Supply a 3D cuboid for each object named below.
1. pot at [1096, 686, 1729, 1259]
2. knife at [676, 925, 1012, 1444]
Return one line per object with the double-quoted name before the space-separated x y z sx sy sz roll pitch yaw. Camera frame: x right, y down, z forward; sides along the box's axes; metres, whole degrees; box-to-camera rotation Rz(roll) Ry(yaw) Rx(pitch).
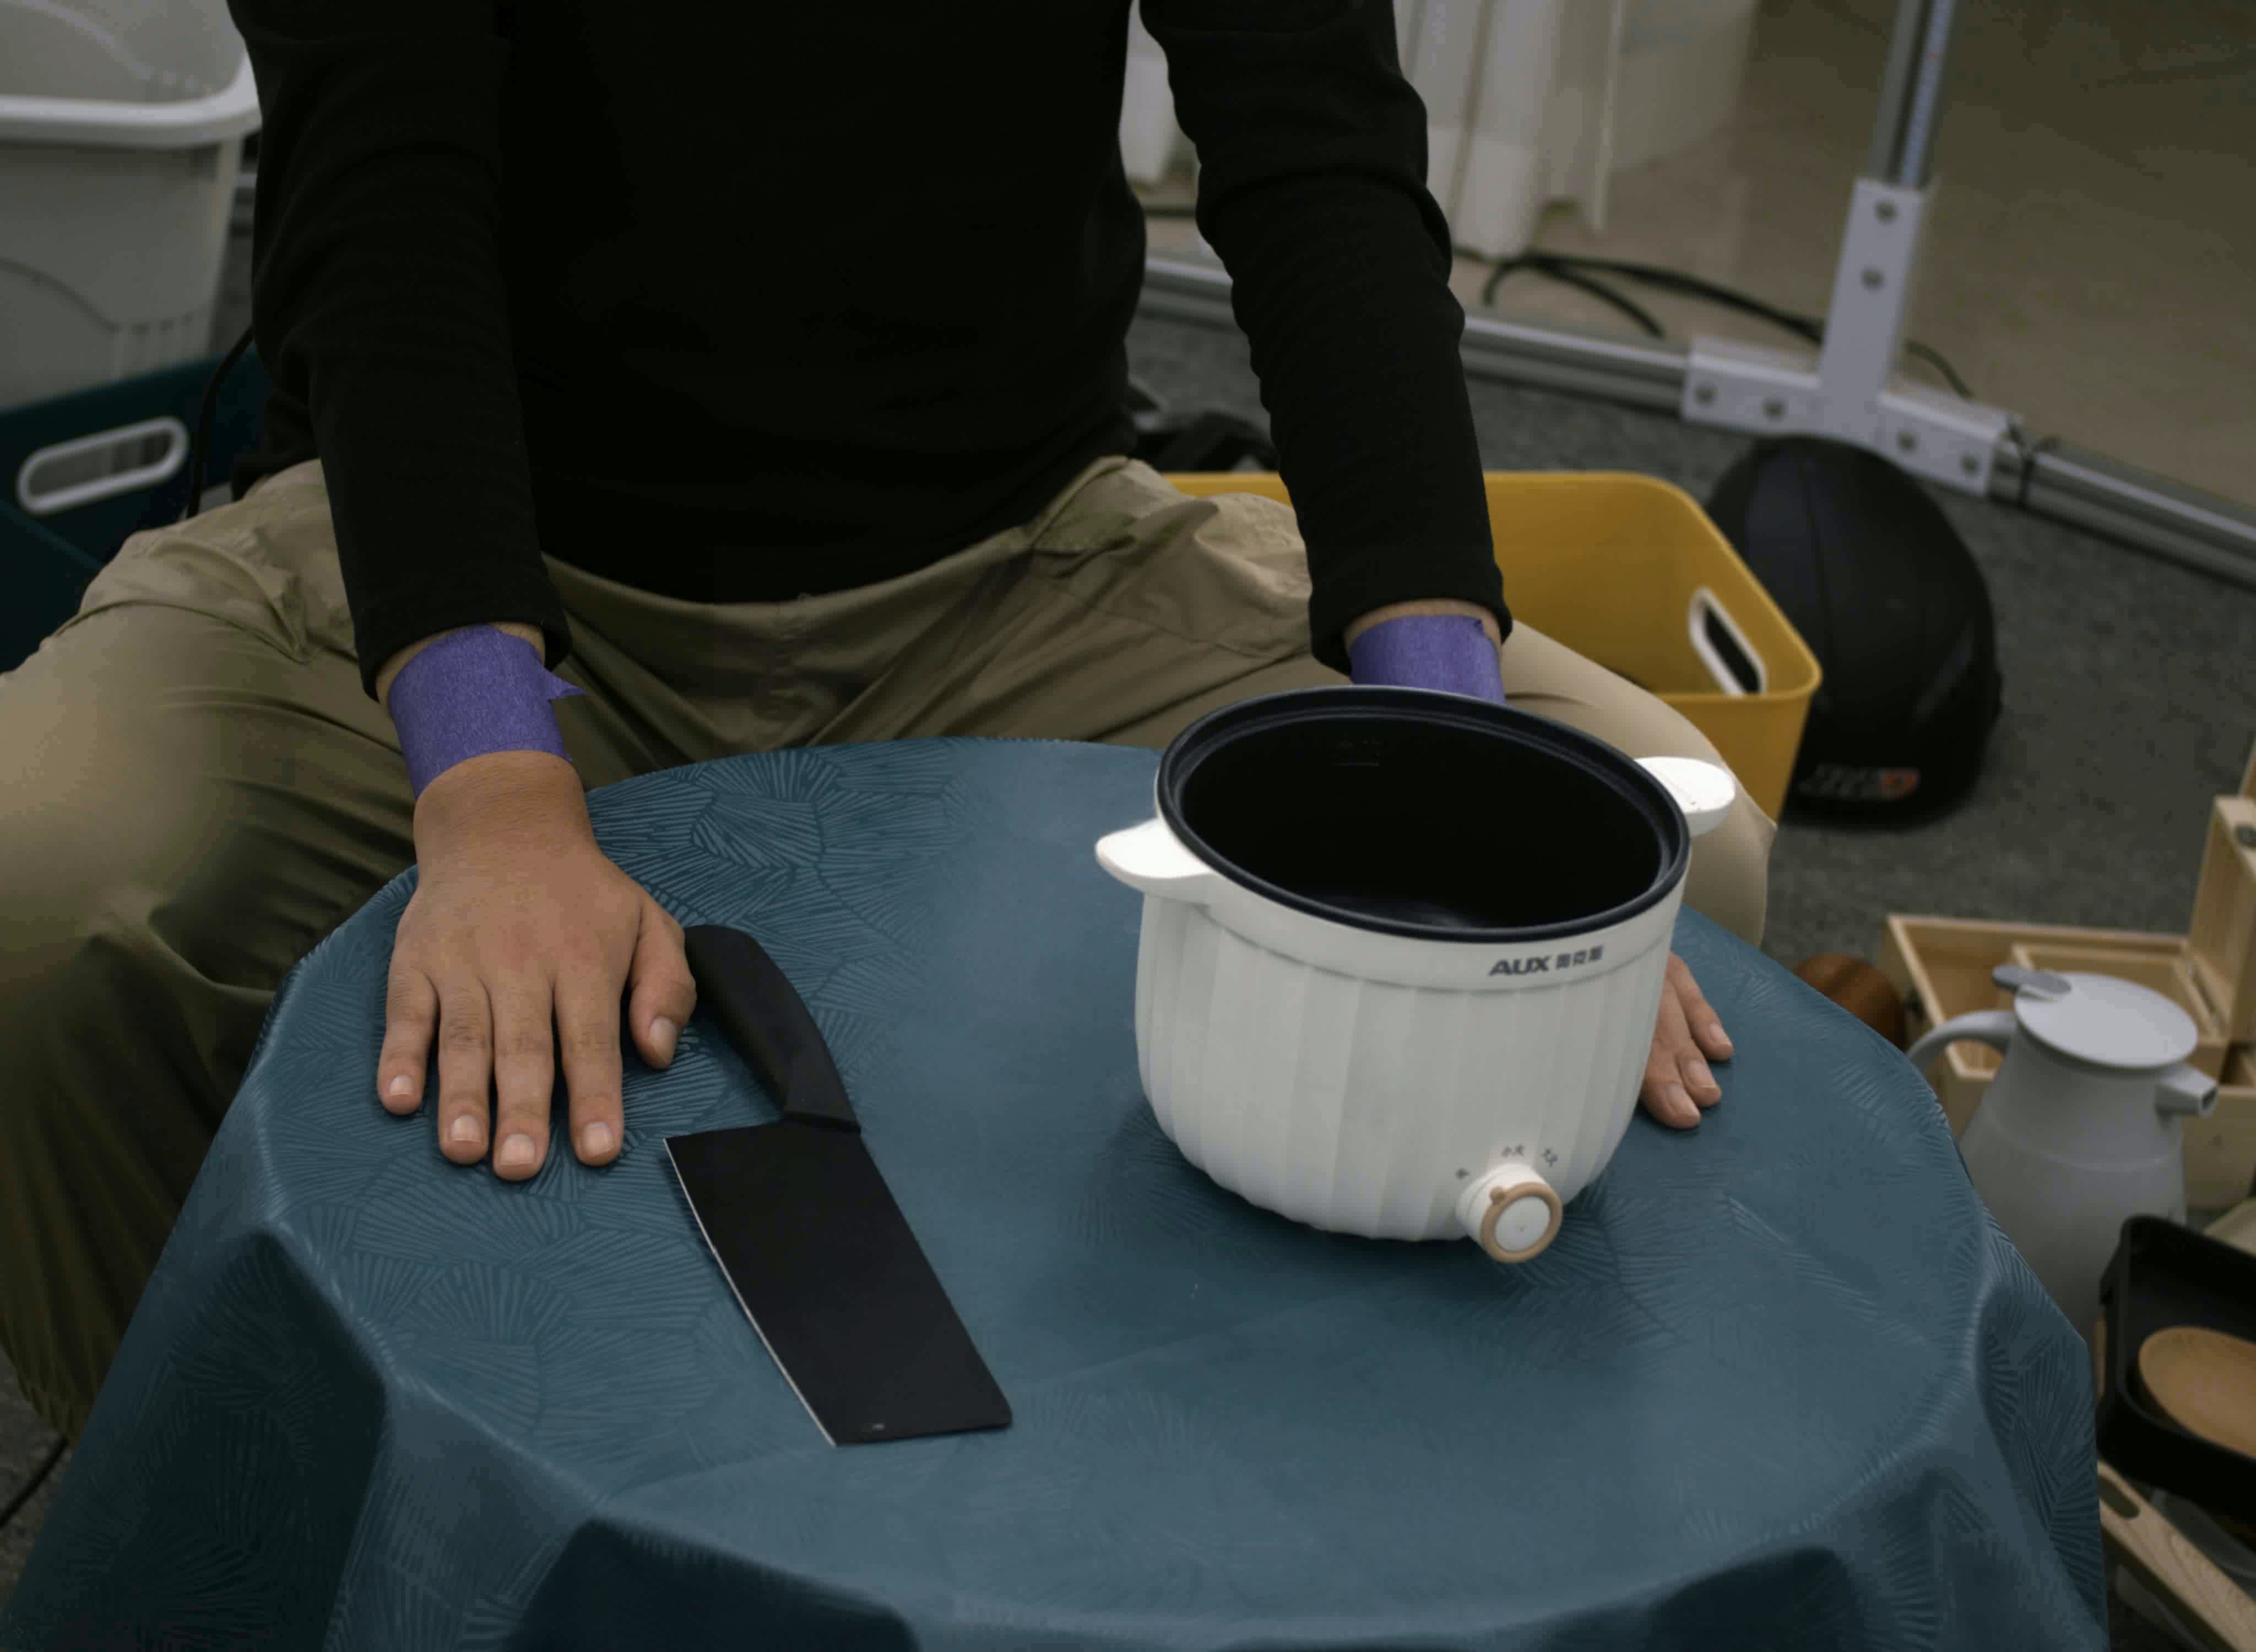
"pot" 0.096 0.053 1.813 0.239 0.142 0.192 -8 27 -25
"knife" -0.110 0.116 1.780 0.080 0.021 0.305 -3 30 -15
